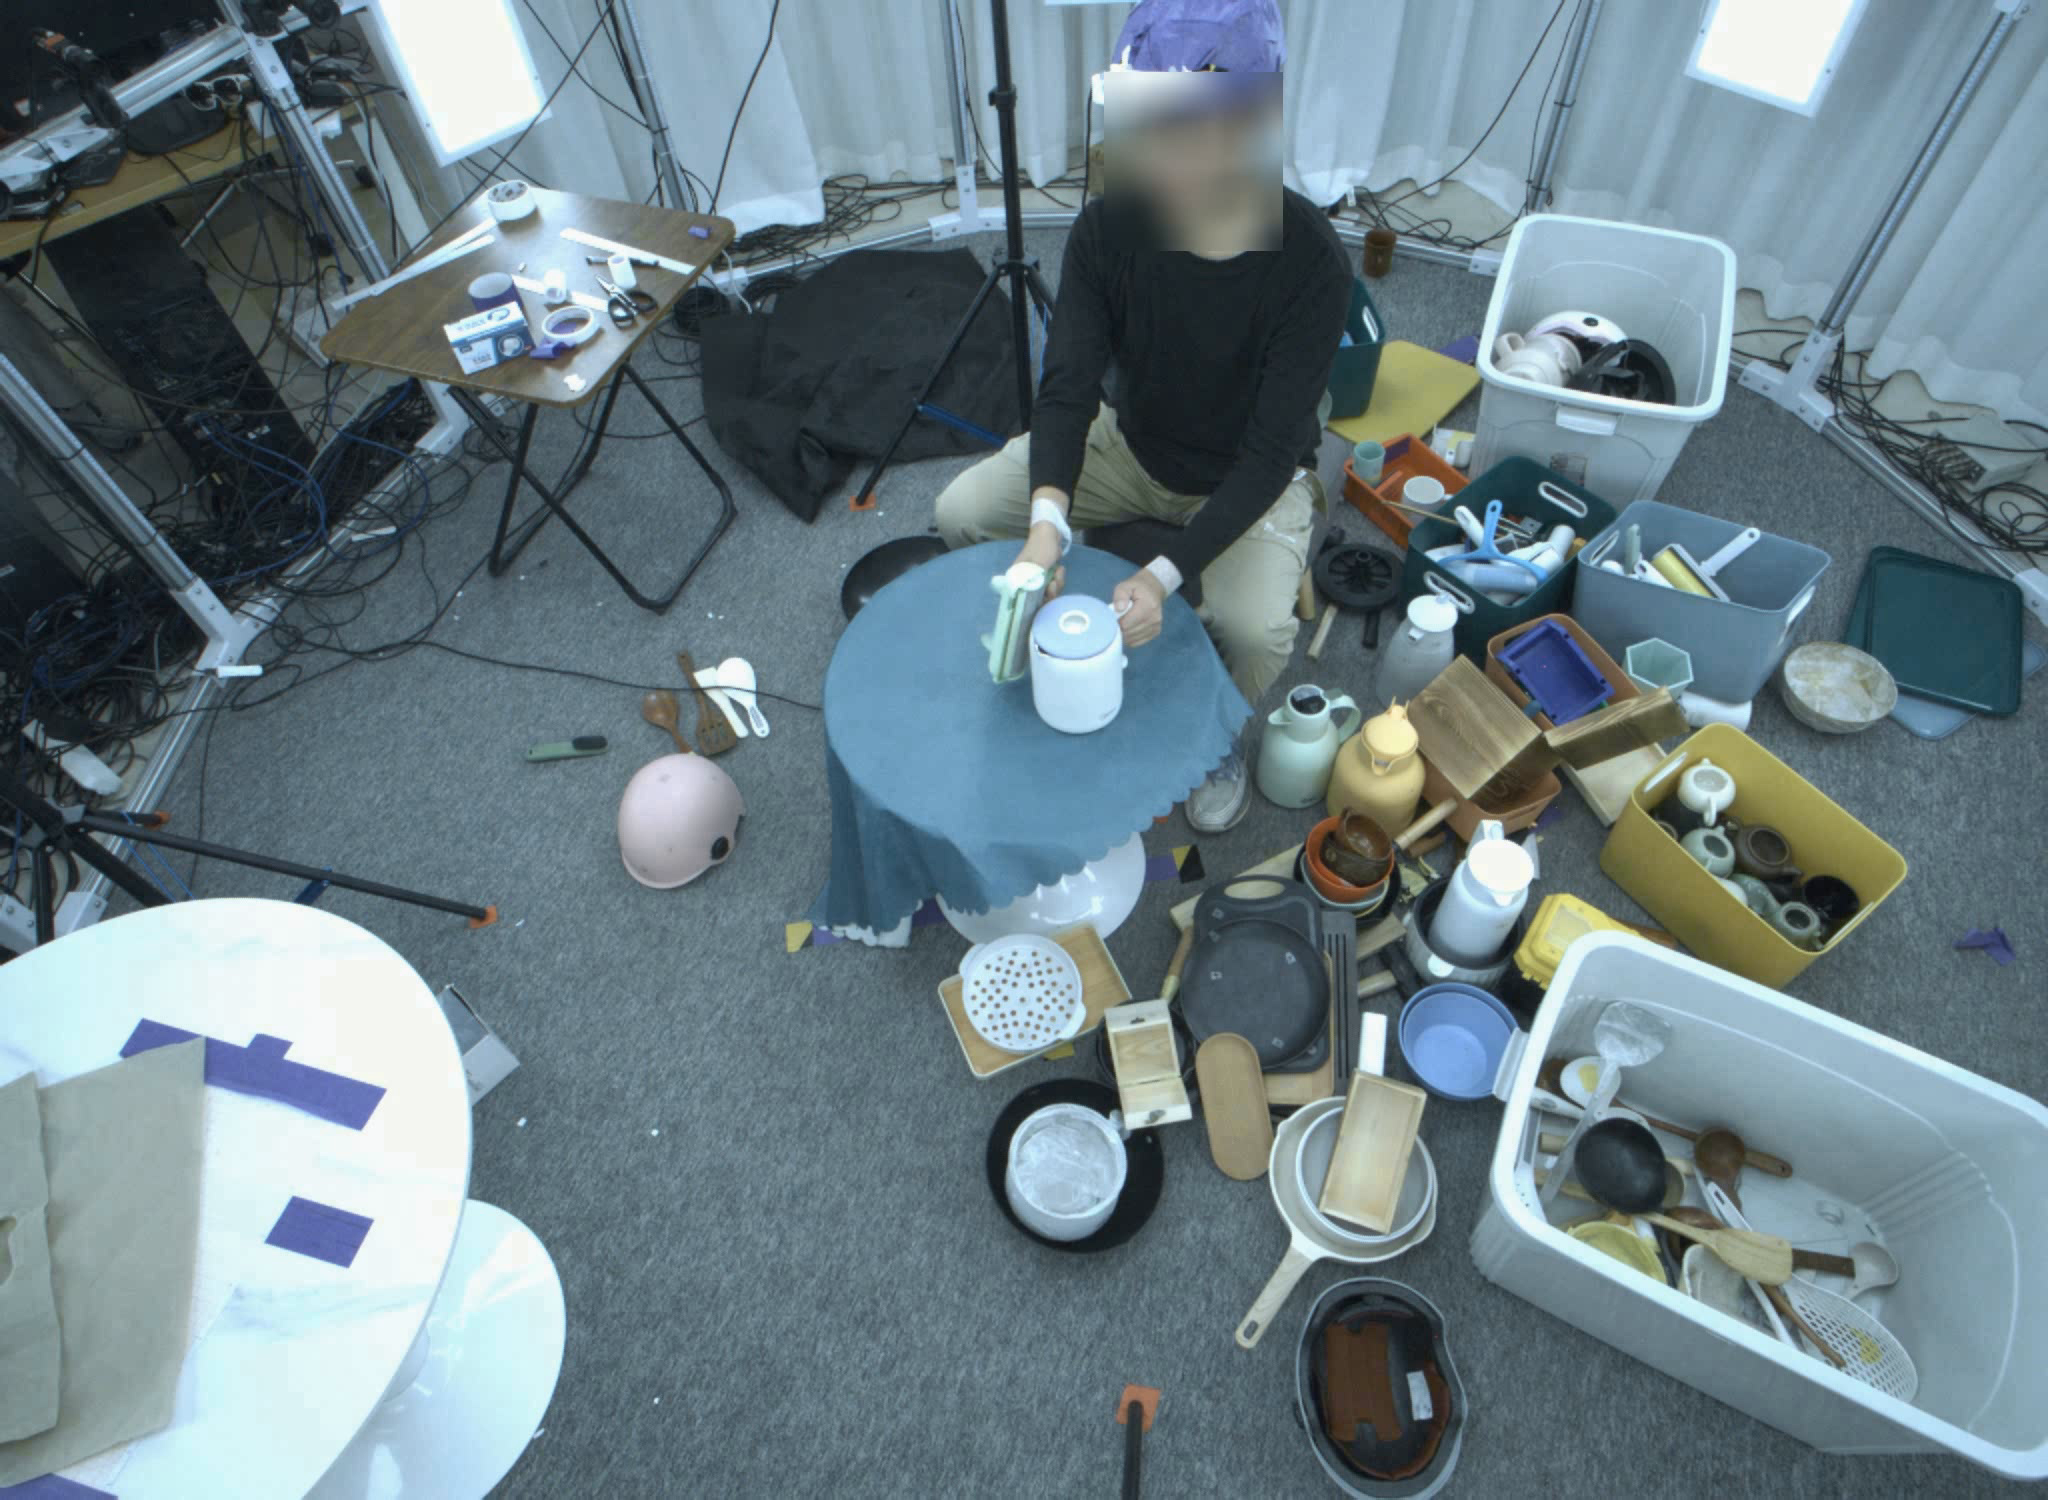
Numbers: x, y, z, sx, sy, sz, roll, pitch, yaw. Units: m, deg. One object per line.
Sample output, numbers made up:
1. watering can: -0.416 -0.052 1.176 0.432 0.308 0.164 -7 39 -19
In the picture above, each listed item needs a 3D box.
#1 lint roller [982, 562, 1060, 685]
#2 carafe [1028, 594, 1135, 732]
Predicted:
1. lint roller: -0.006 -0.219 1.784 0.082 0.199 0.182 16 50 3
2. carafe: 0.092 -0.138 1.776 0.192 0.184 0.130 -37 61 -23
